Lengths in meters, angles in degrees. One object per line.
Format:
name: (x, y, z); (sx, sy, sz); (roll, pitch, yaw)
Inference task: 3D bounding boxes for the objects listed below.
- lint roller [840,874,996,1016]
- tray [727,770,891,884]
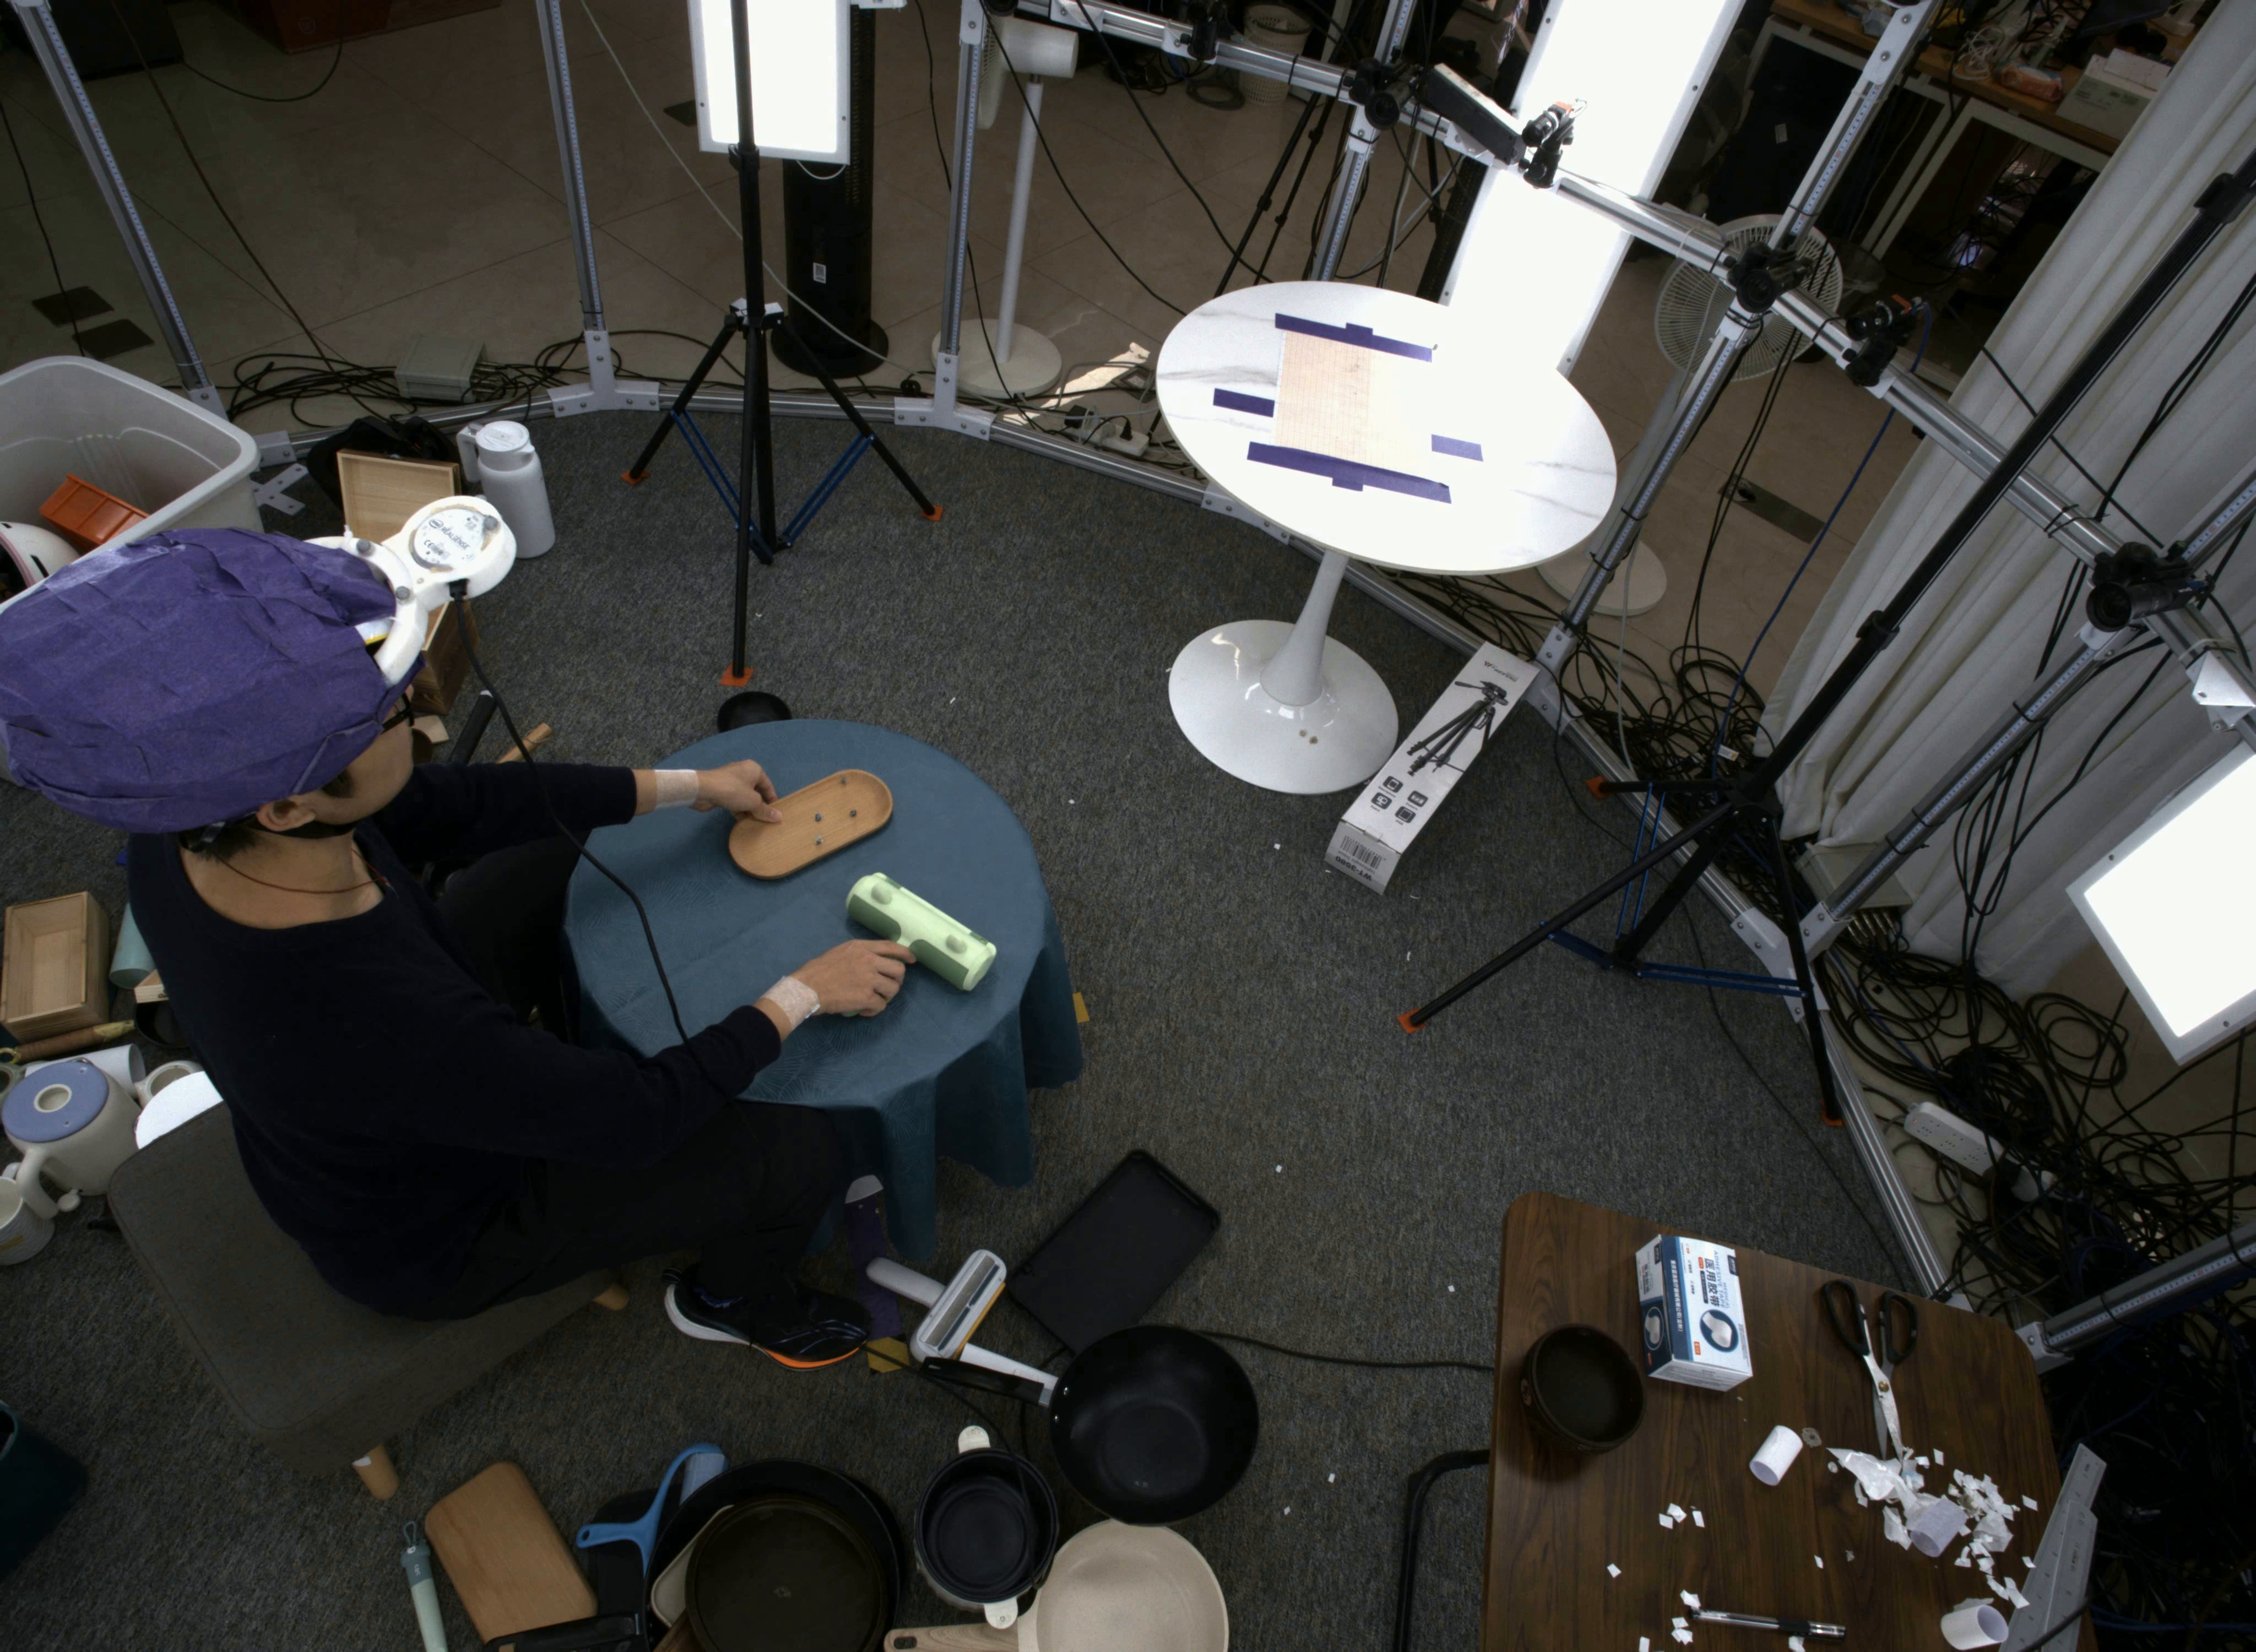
lint roller: (-0.285, 0.151, 1.575); (0.195, 0.084, 0.183); (31, 41, 10)
tray: (-0.417, -0.001, 1.700); (0.232, 0.020, 0.100); (-31, 74, -31)
